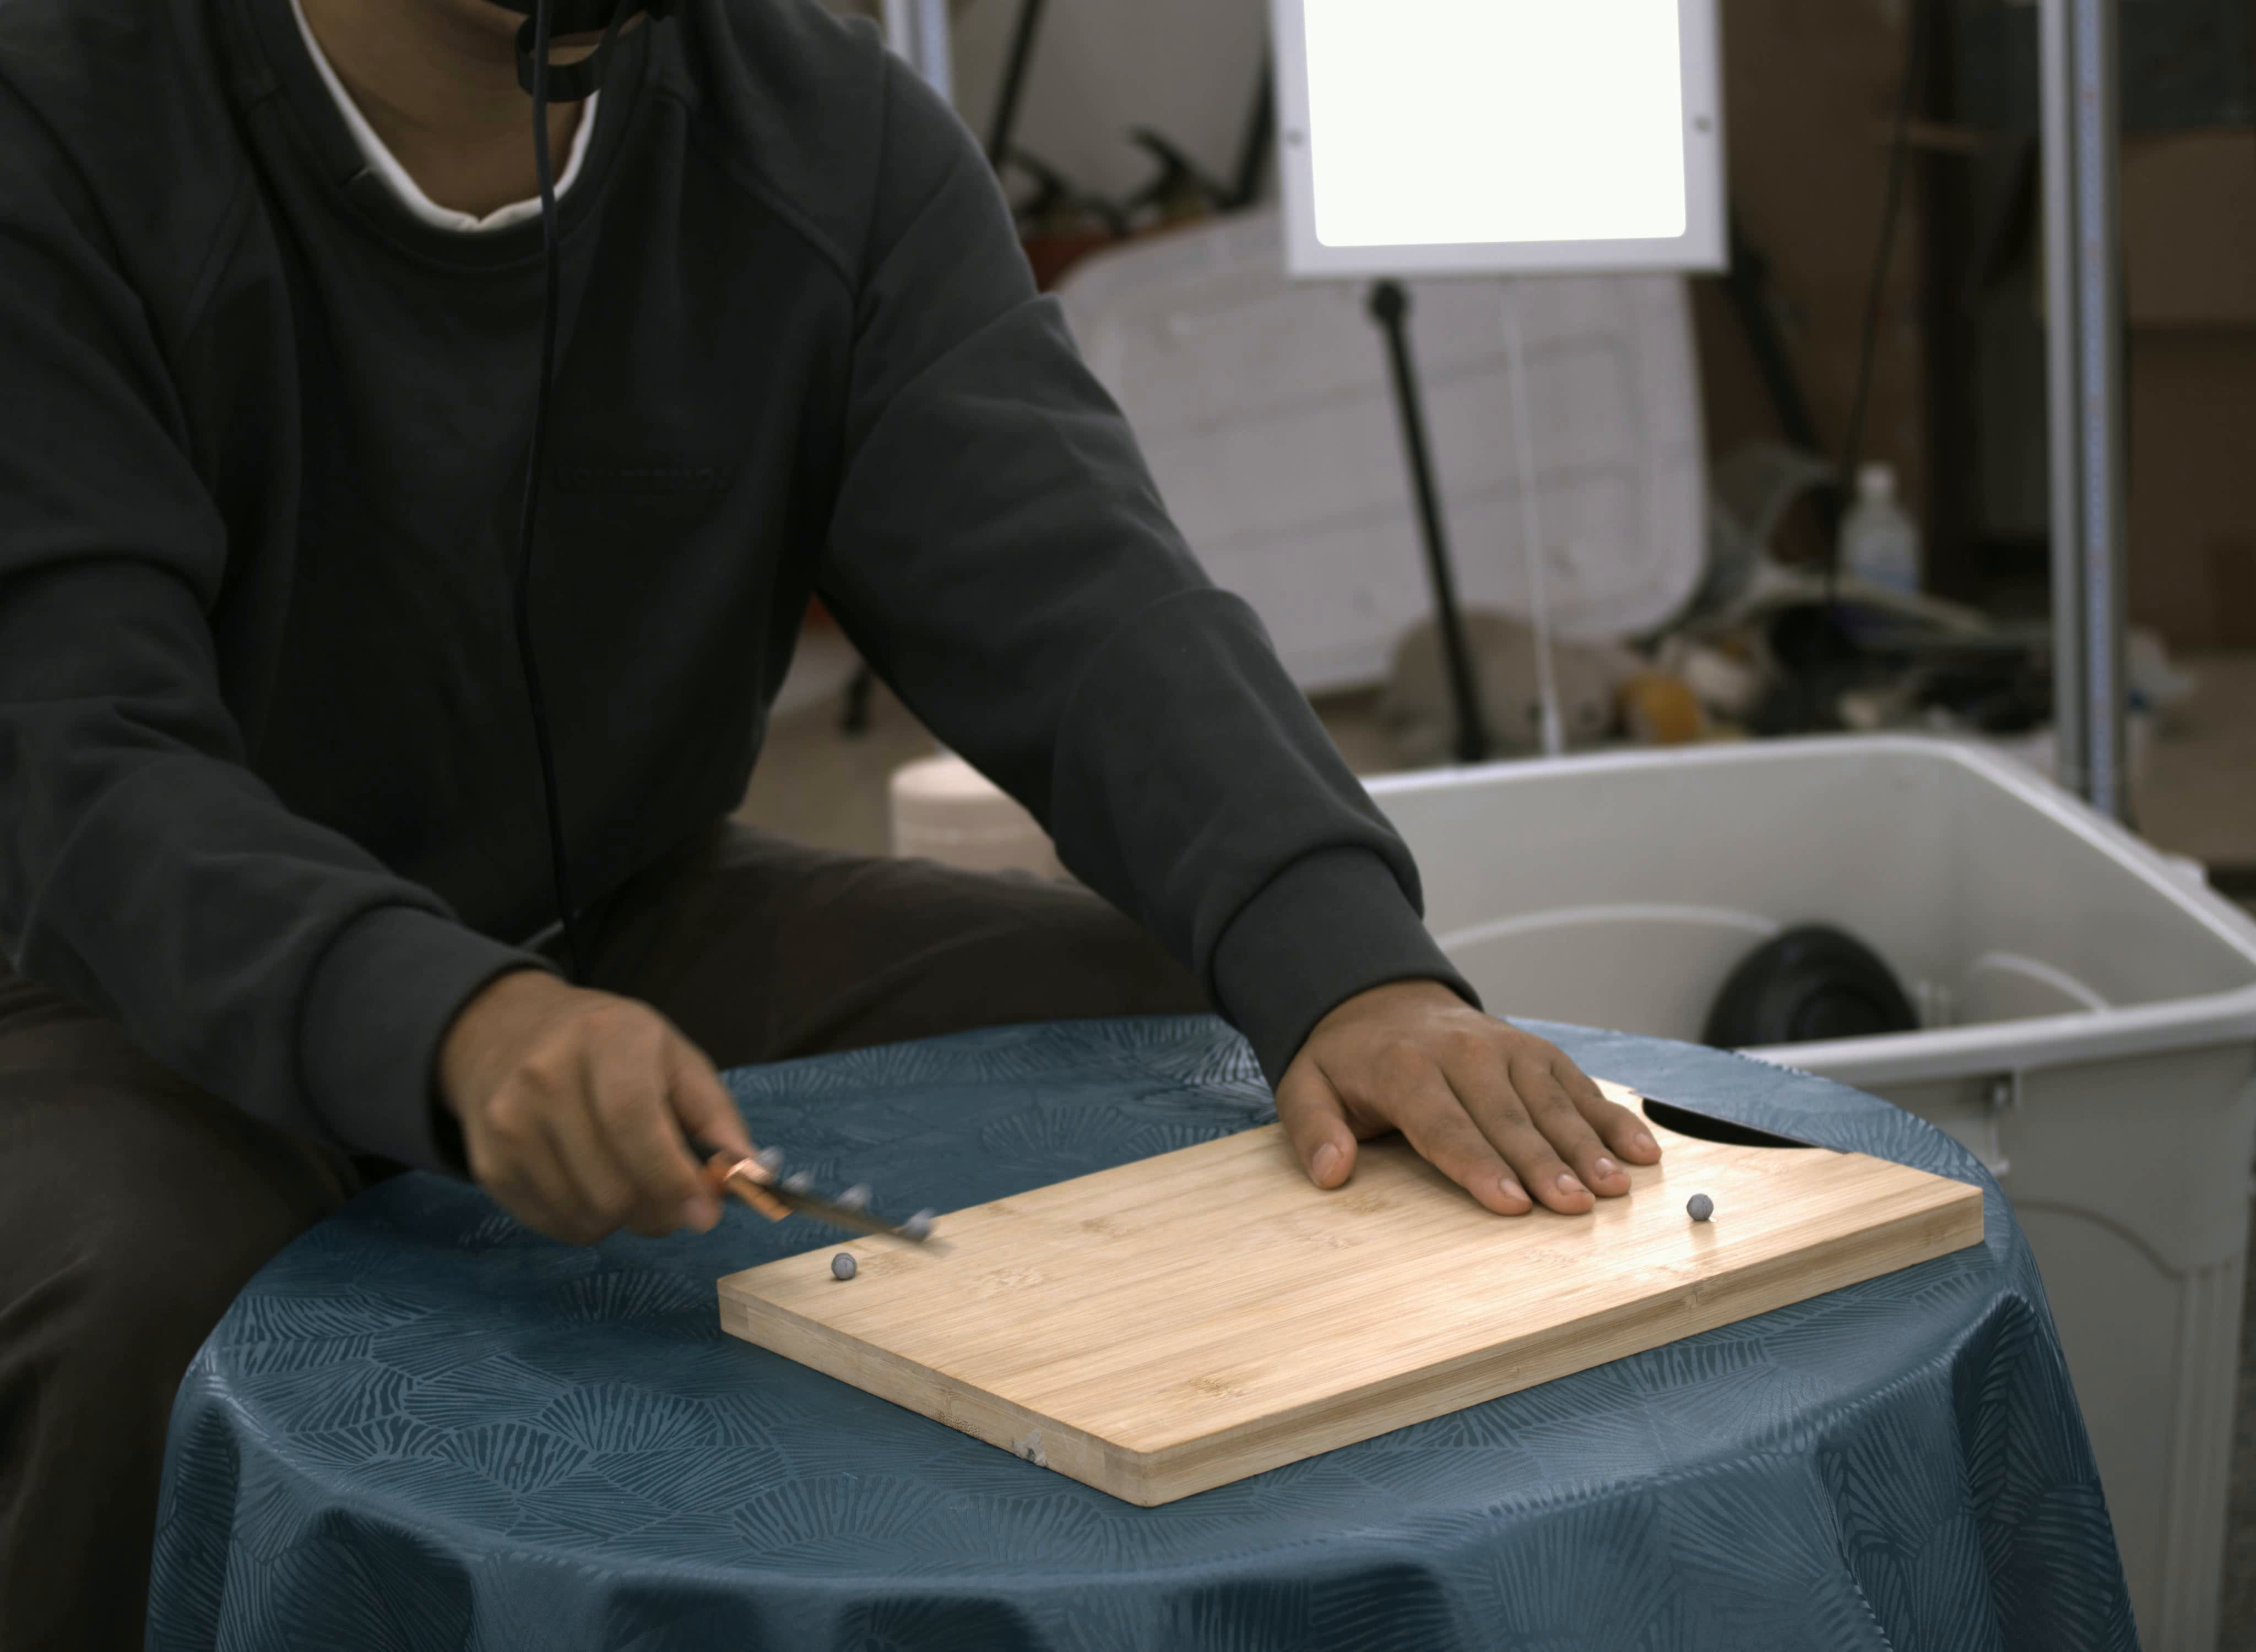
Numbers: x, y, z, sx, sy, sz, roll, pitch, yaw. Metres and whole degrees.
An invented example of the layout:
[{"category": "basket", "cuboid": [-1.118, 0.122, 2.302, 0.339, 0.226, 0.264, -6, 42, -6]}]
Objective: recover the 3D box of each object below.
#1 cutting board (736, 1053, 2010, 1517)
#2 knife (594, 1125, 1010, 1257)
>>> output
[{"category": "cutting board", "cuboid": [0.078, 0.140, 1.779, 0.340, 0.023, 0.256, -14, 16, -33]}, {"category": "knife", "cuboid": [-0.106, 0.115, 1.743, 0.230, 0.026, 0.017, 8, 62, 55]}]
